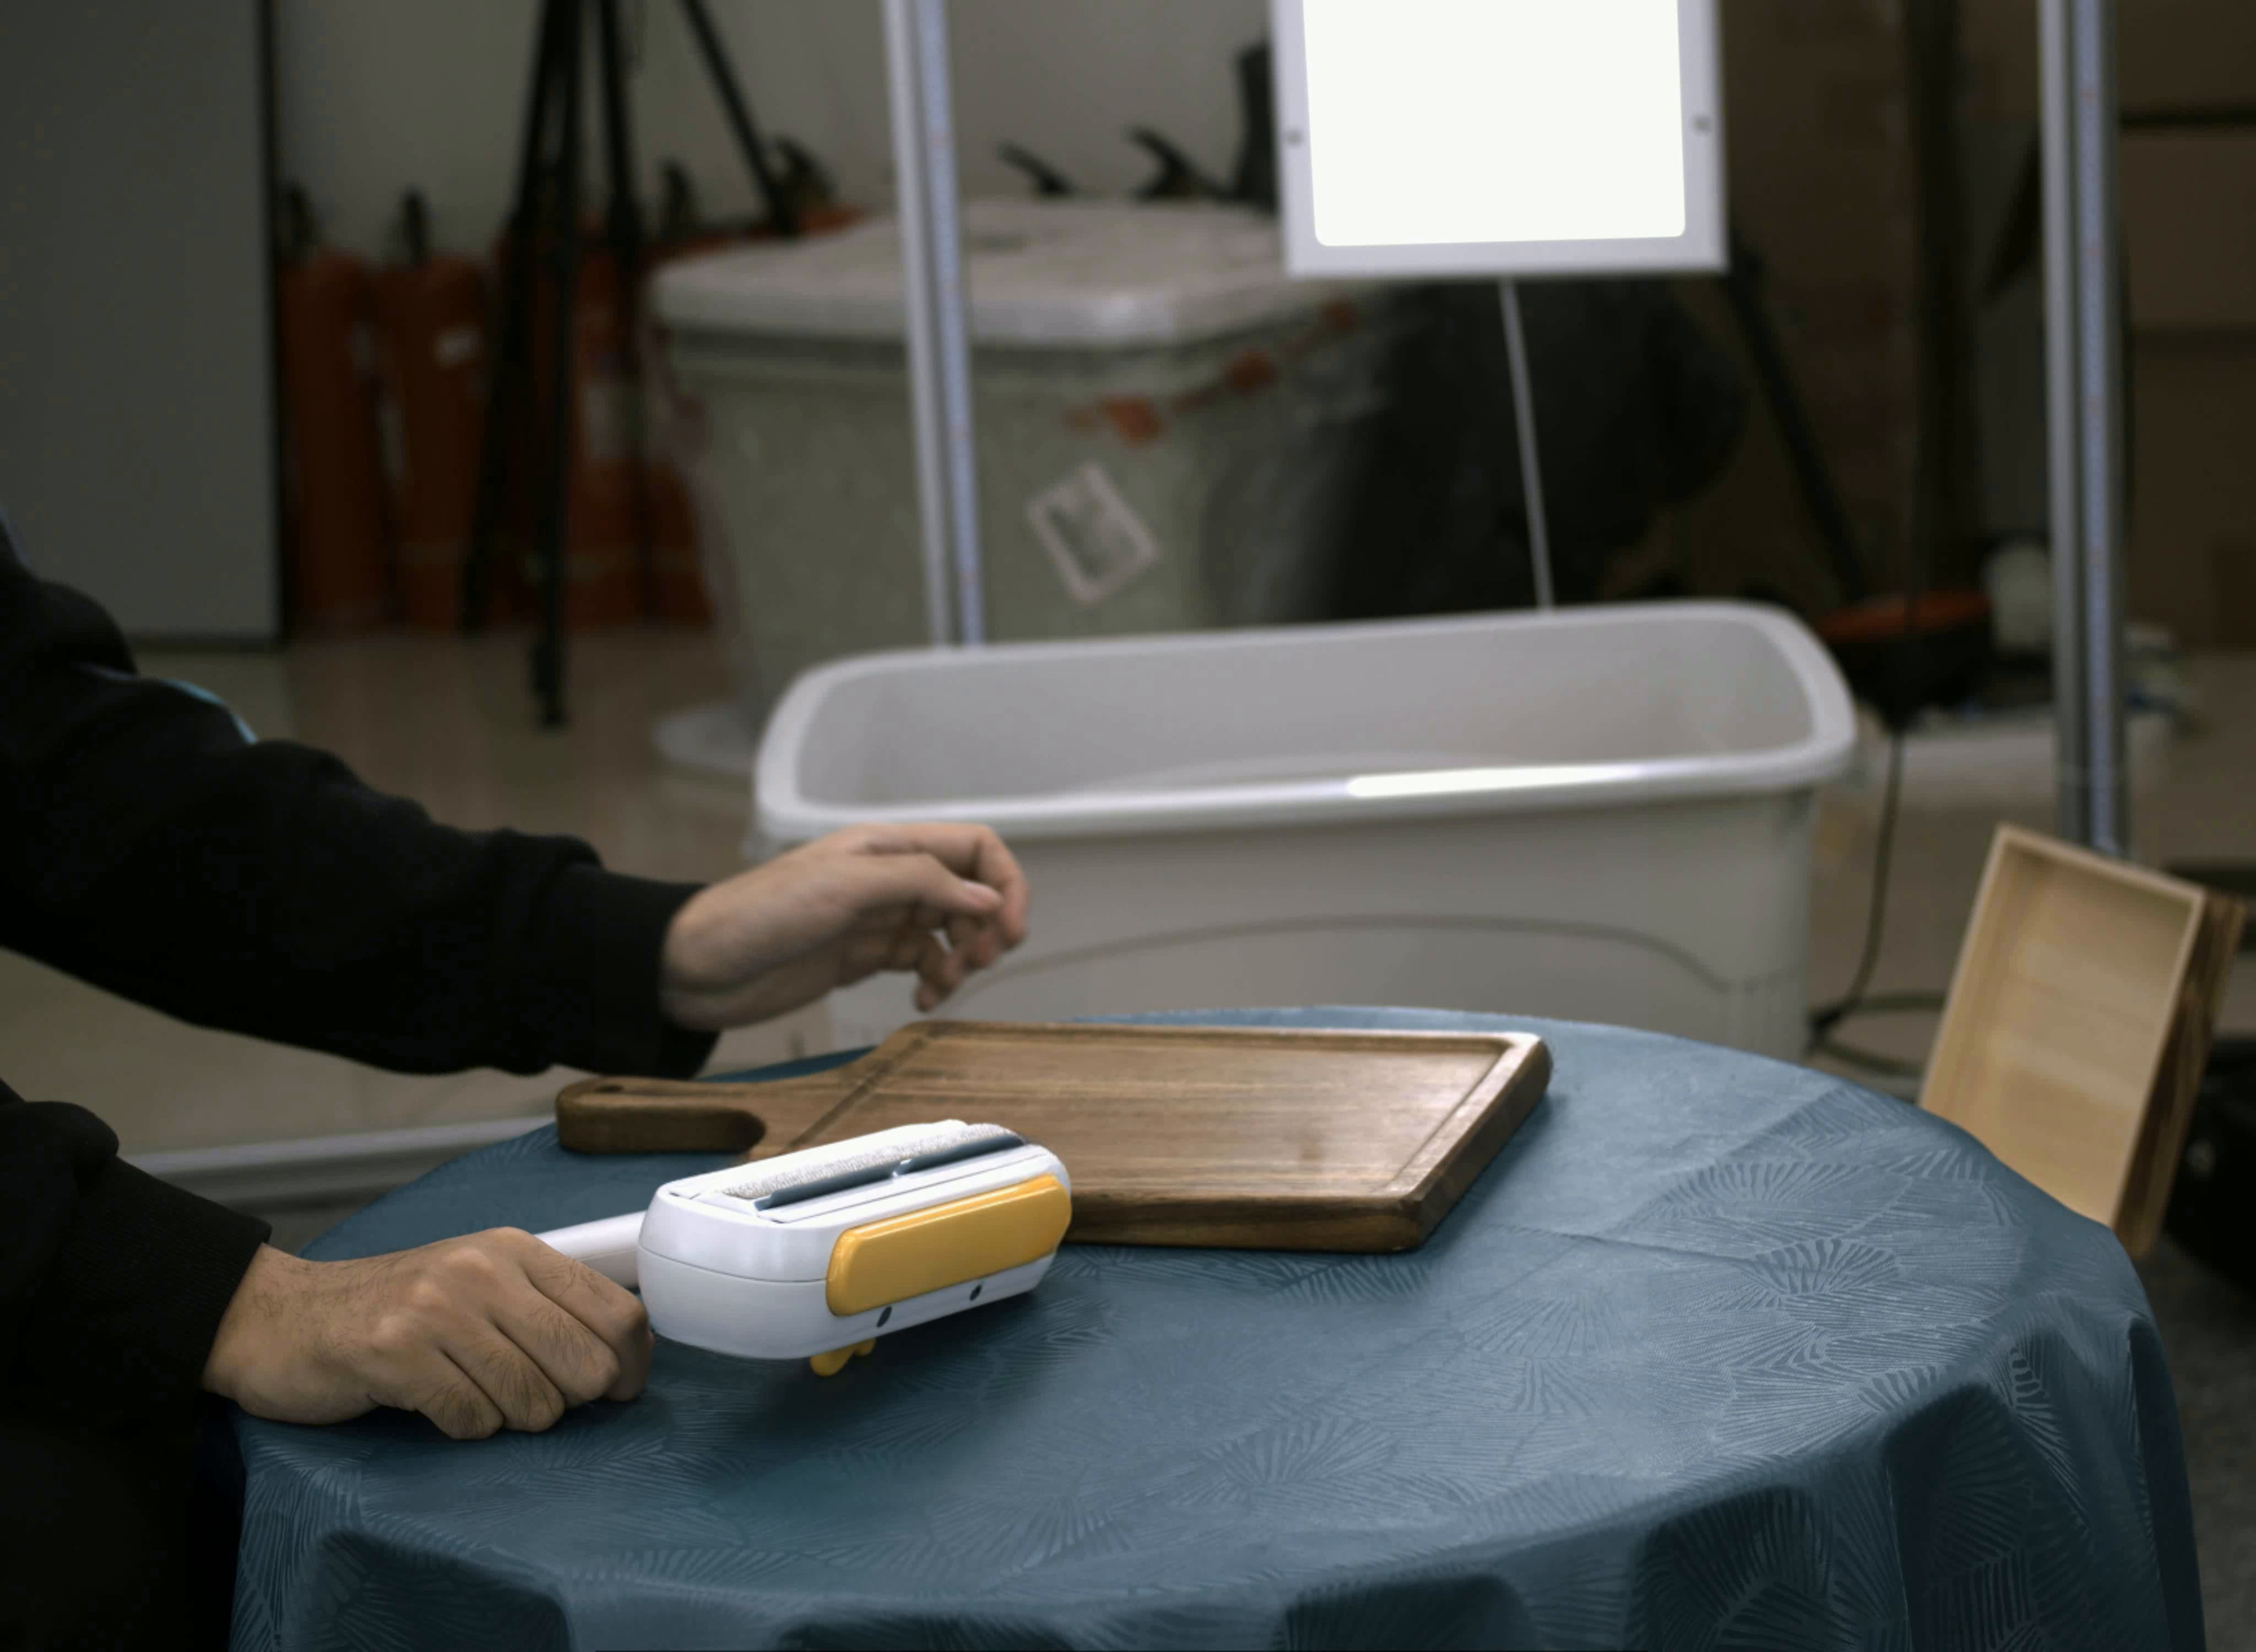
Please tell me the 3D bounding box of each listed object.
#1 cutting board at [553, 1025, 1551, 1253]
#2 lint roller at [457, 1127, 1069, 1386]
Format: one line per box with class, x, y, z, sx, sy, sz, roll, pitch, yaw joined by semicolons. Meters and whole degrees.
cutting board;-0.039;0.107;1.947;0.357;0.023;0.197;0;15;20
lint roller;-0.137;0.136;1.768;0.196;0.074;0.188;2;10;34
